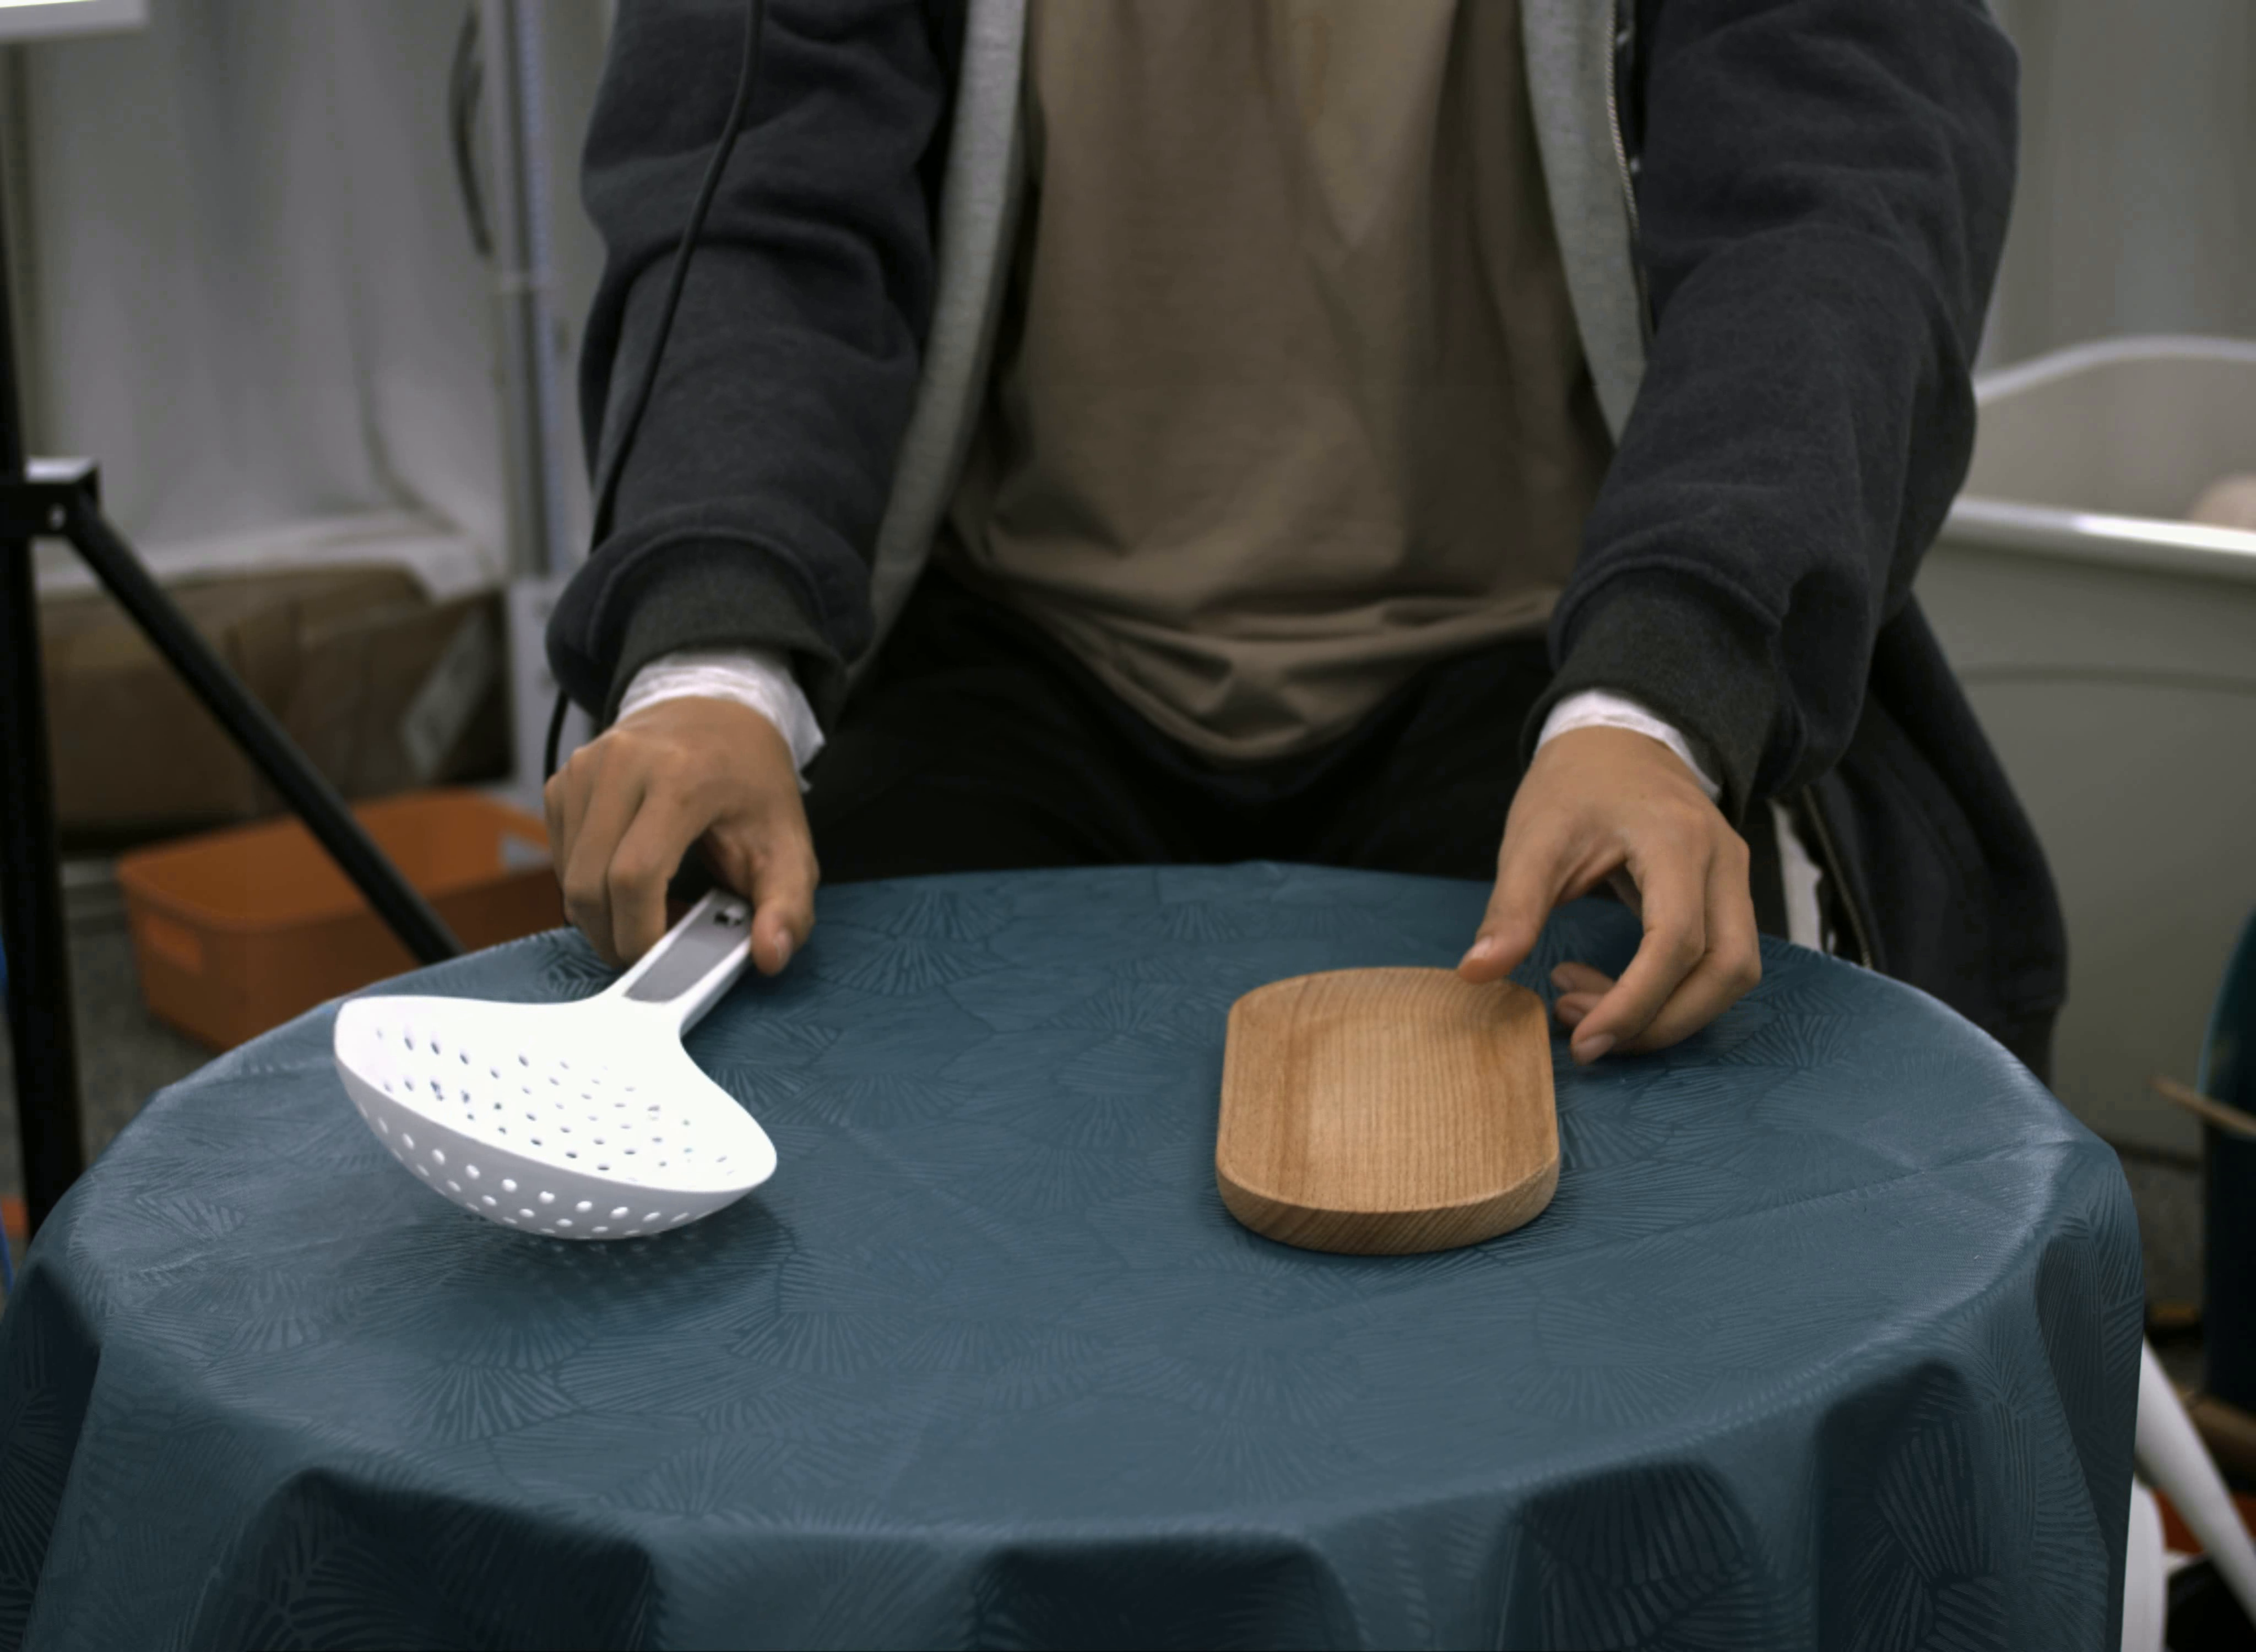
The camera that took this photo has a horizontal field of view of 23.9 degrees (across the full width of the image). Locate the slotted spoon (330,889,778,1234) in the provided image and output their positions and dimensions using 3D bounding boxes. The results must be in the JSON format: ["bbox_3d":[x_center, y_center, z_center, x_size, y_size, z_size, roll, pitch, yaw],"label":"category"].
[{"bbox_3d":[-0.155,0.062,1.651,0.136,0.046,0.348,22,17,3],"label":"slotted spoon"}]

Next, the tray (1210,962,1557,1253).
[{"bbox_3d":[0.076,0.083,1.606,0.101,0.020,0.232,-1,15,2],"label":"tray"}]
